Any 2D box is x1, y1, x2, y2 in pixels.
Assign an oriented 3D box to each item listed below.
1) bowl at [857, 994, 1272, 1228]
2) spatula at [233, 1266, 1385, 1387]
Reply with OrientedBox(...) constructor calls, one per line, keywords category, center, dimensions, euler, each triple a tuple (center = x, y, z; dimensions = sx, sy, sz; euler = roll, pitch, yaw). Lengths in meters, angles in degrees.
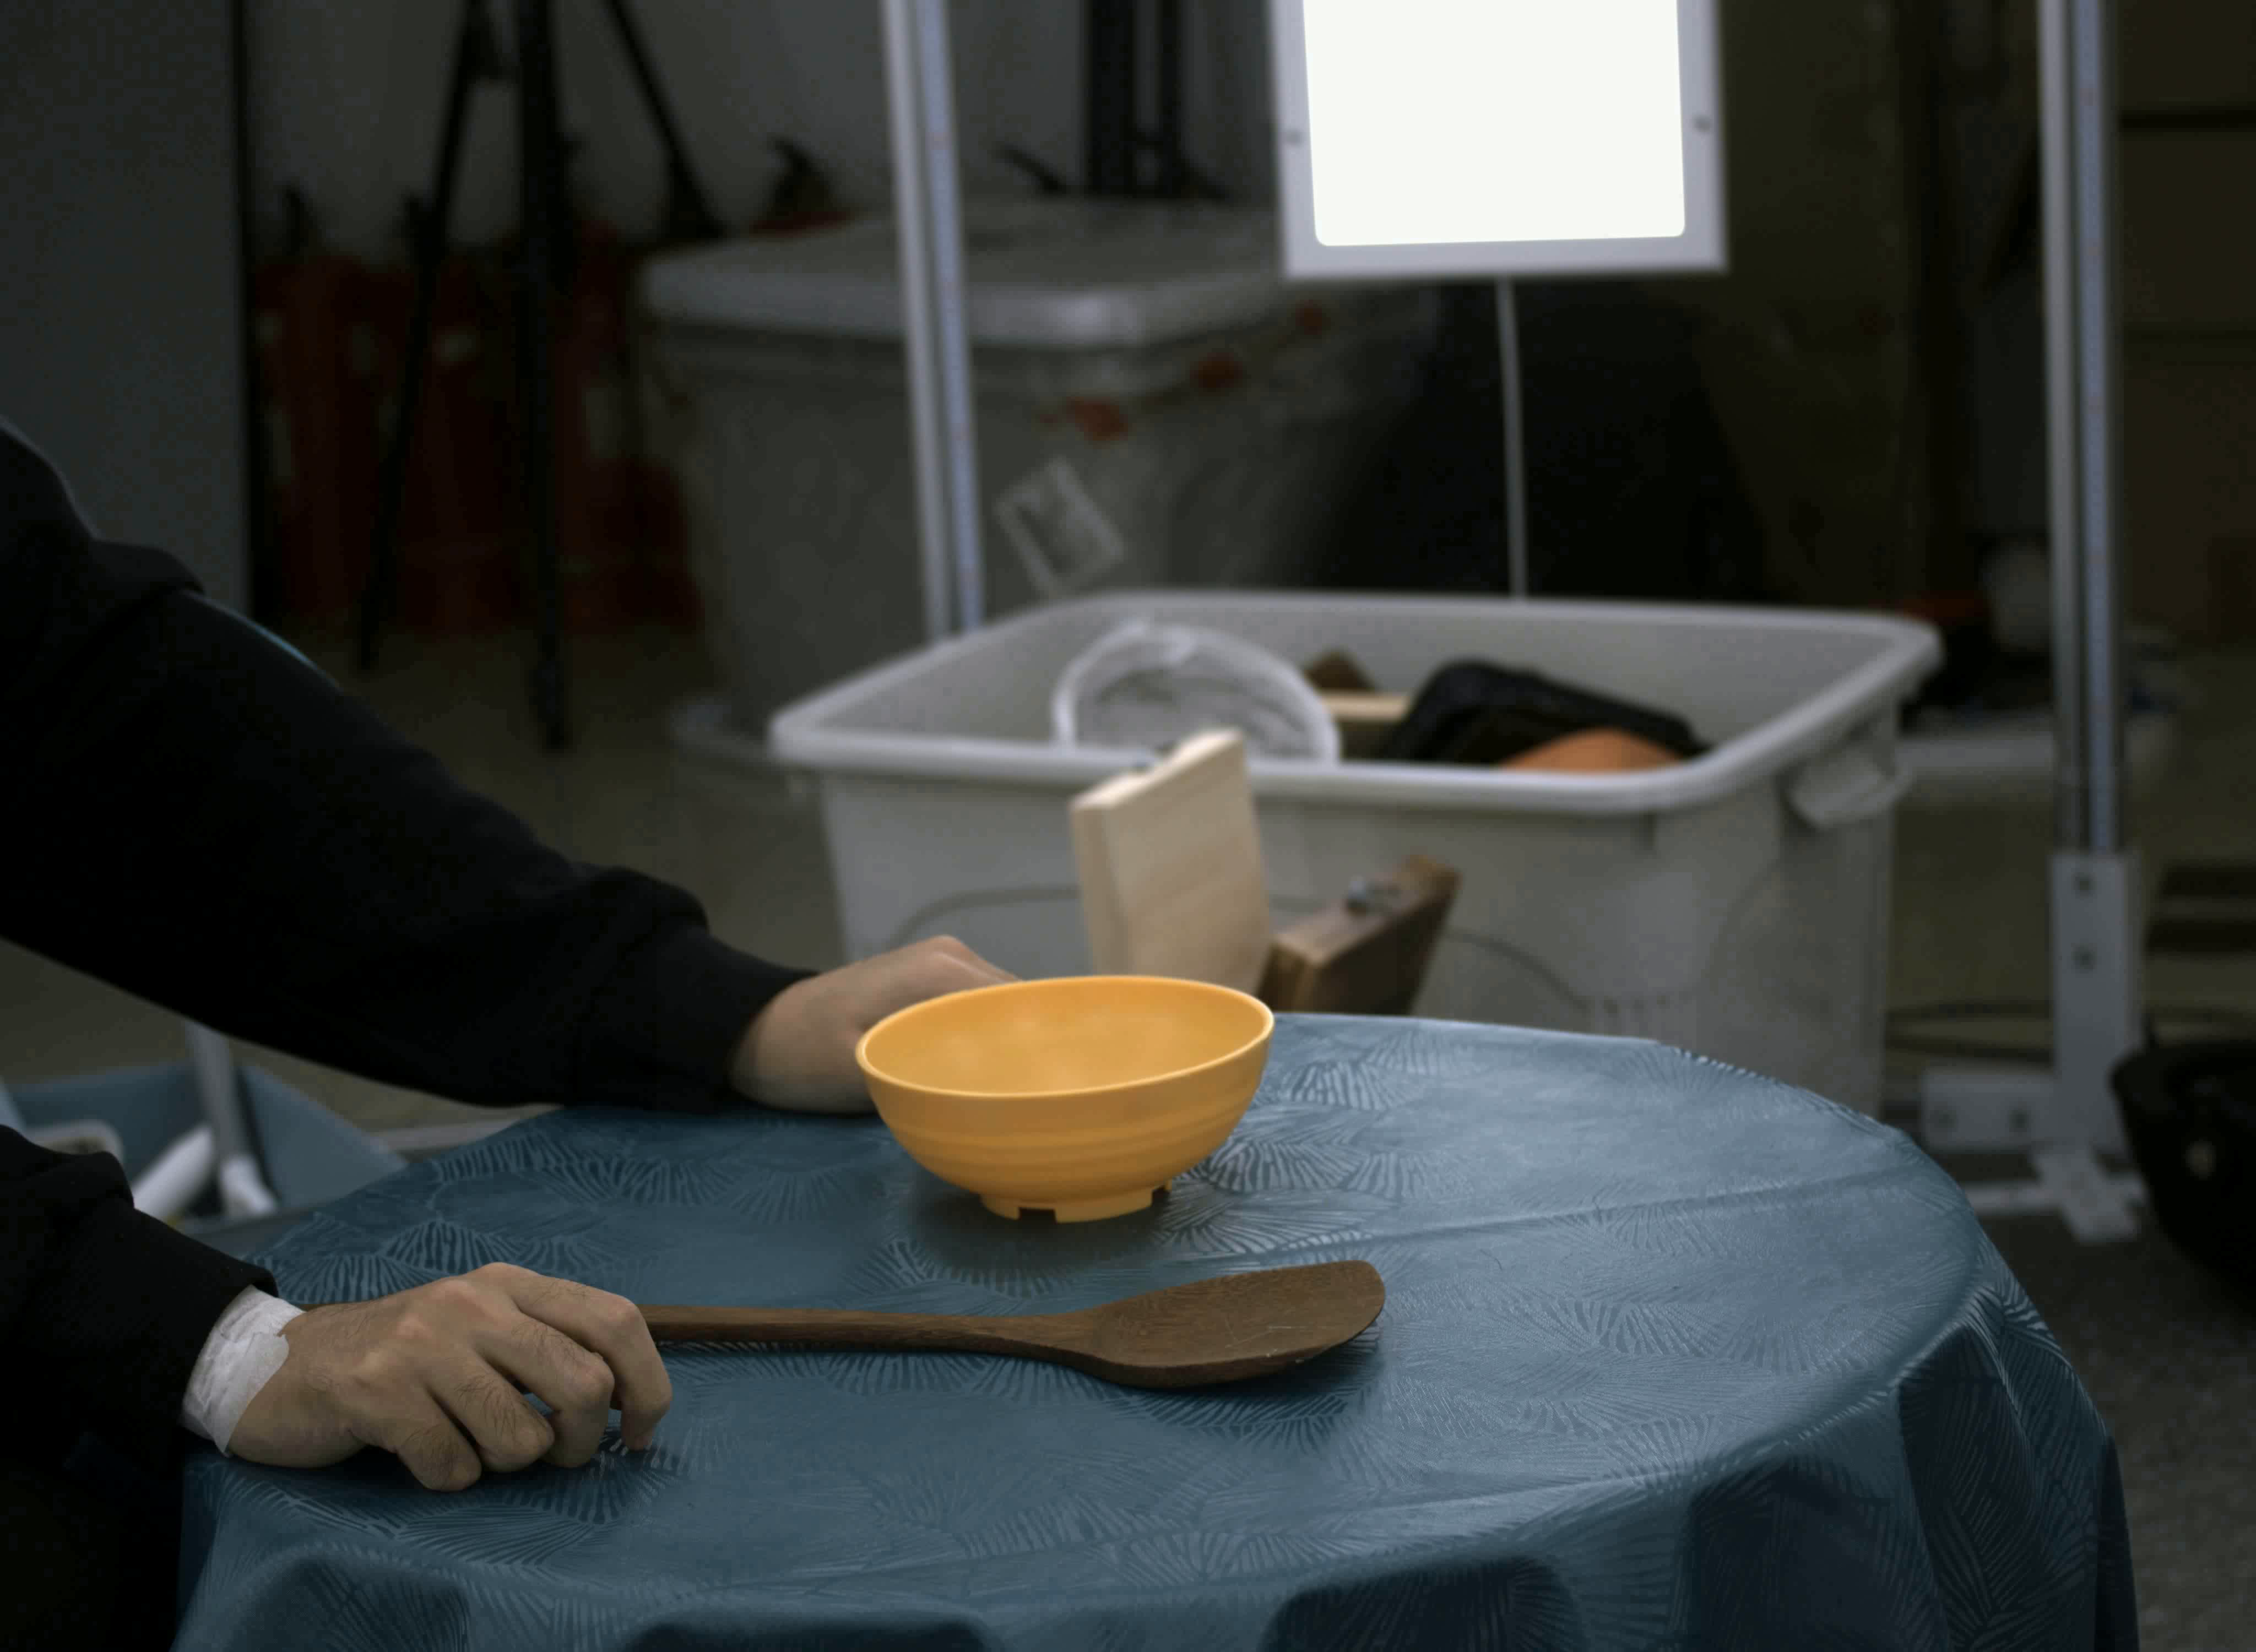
OrientedBox(category="bowl", center=(-0.020, 0.101, 1.893), dimensions=(0.145, 0.060, 0.145), euler=(-5, 11, 0))
OrientedBox(category="spatula", center=(-0.108, 0.160, 1.769), dimensions=(0.390, 0.016, 0.095), euler=(-1, 14, 16))
